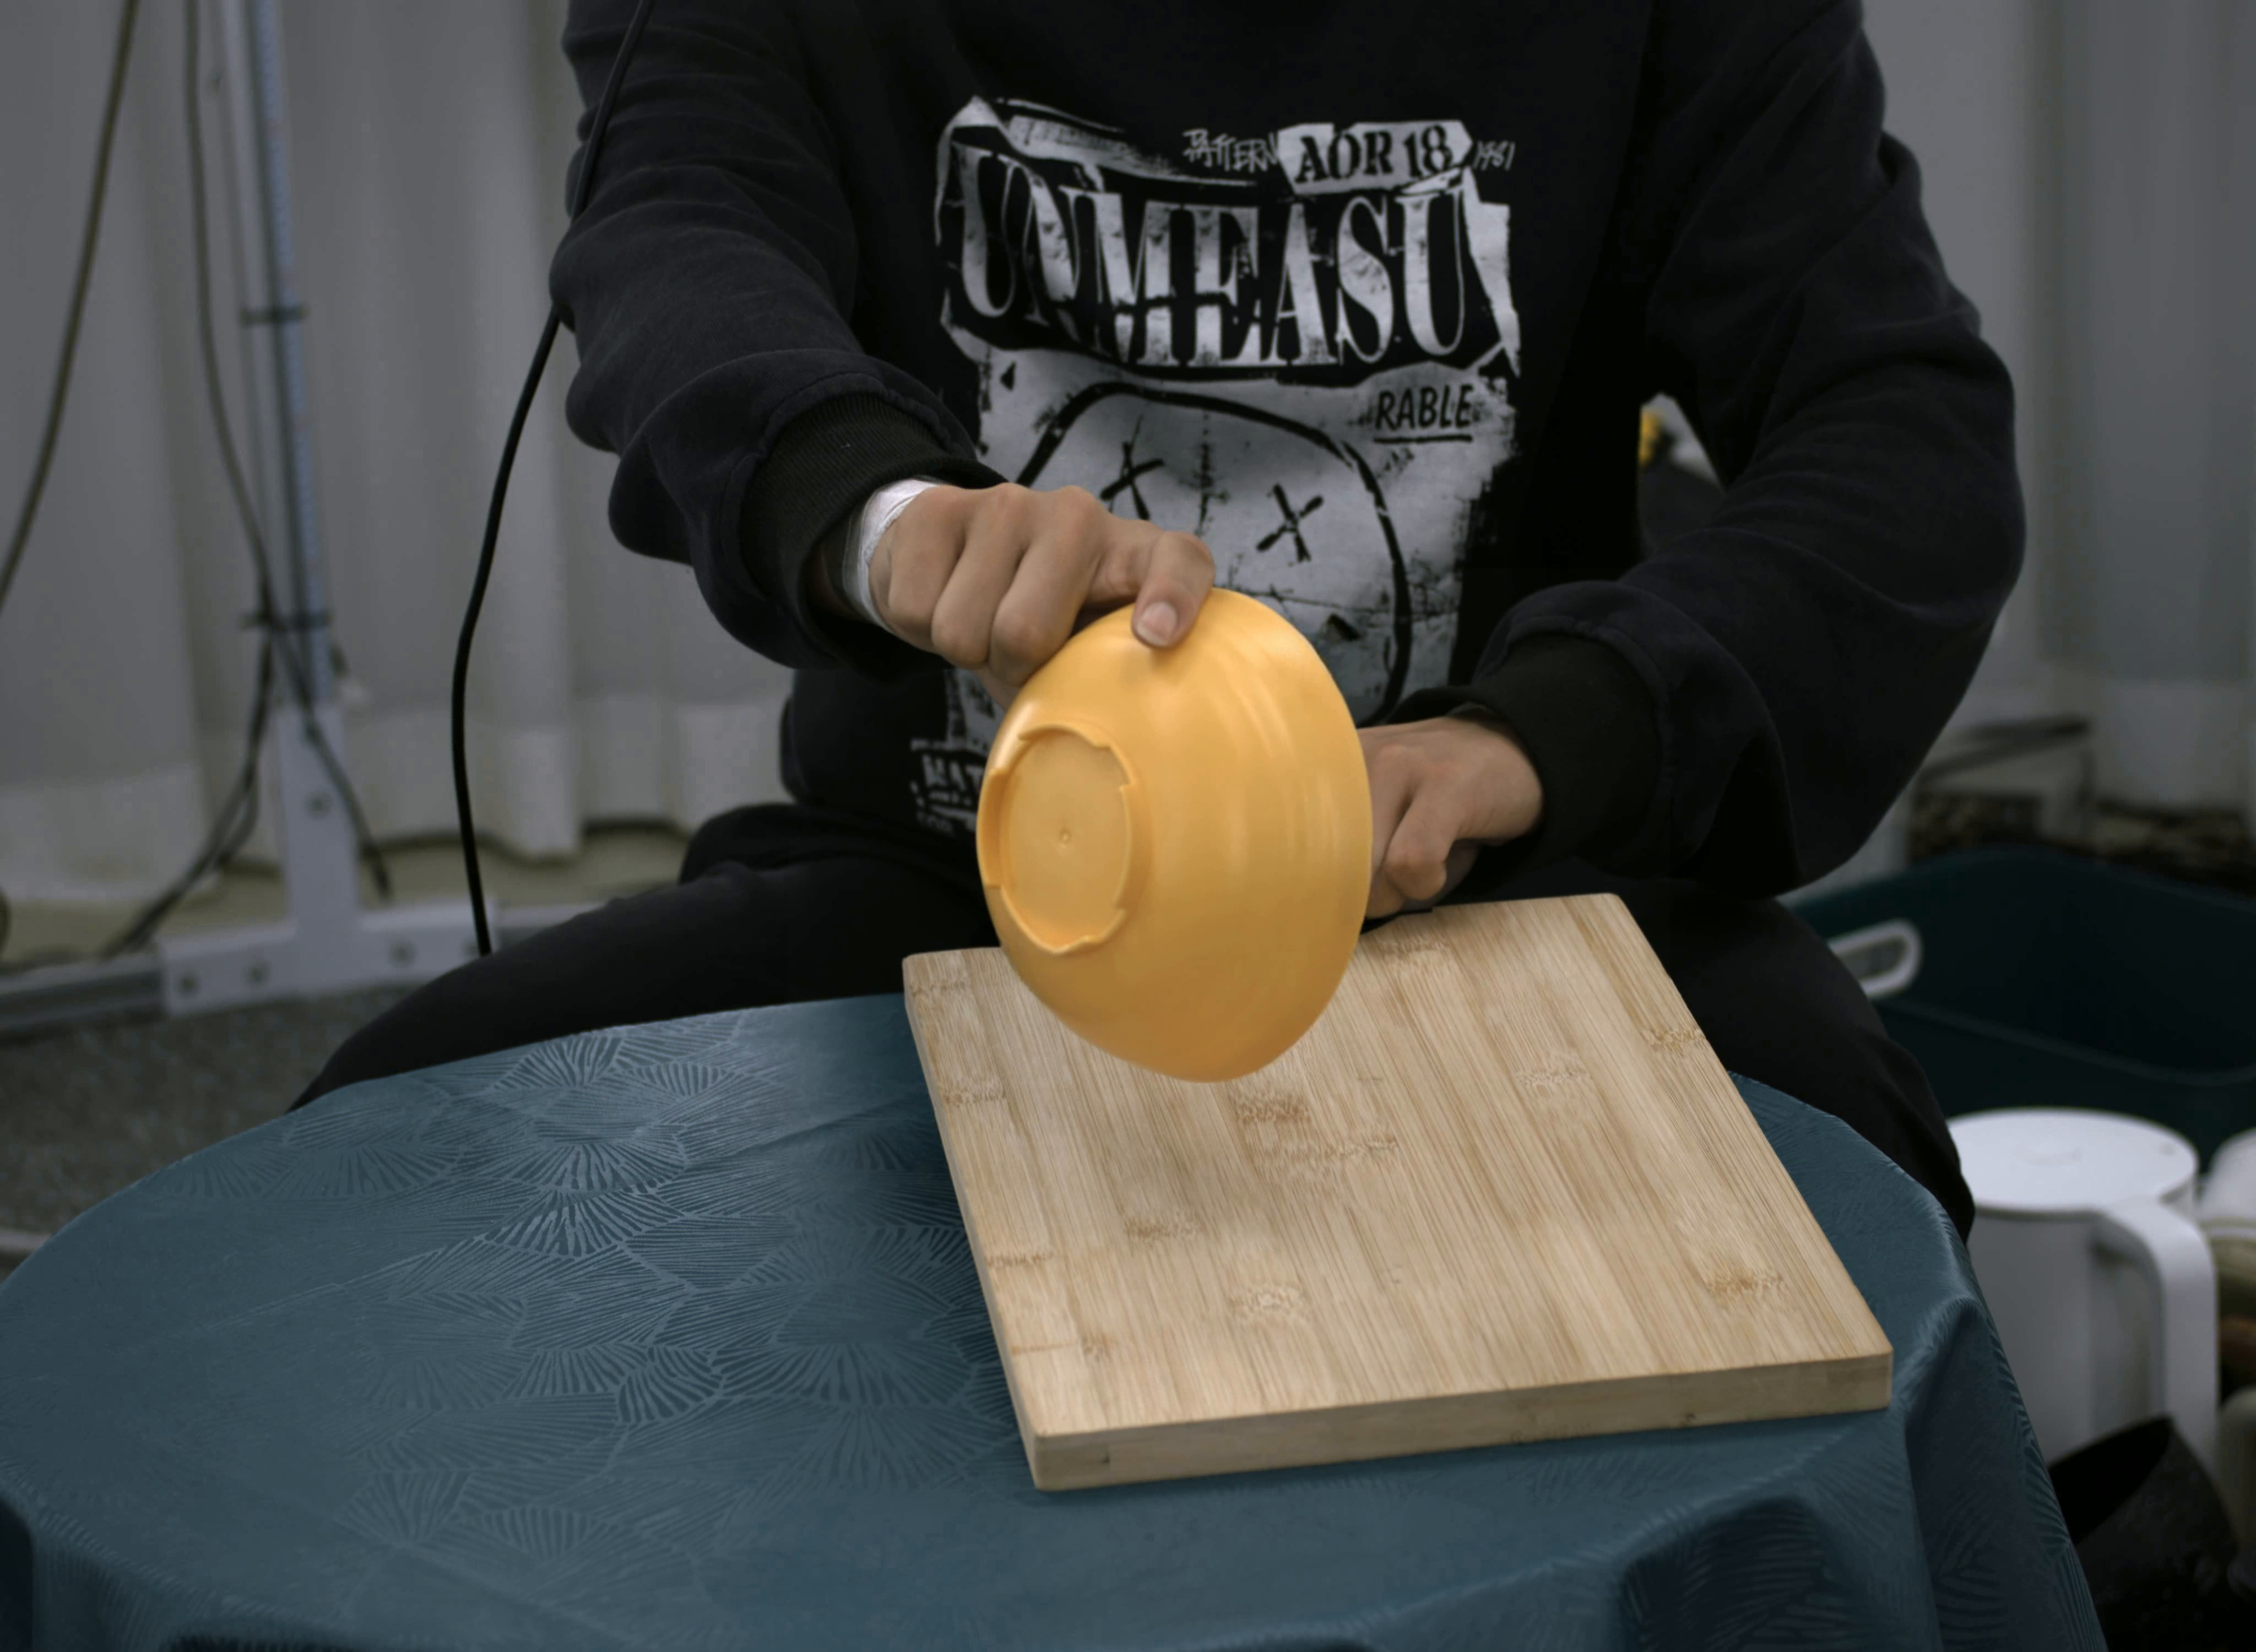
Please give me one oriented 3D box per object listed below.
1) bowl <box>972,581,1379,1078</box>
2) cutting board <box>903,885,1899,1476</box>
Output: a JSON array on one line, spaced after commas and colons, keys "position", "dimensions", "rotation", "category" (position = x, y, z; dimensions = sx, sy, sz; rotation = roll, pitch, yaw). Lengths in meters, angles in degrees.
[{"position": [0.000, 0.001, 1.571], "dimensions": [0.060, 0.145, 0.146], "rotation": [1, 8, -45], "category": "bowl"}, {"position": [0.069, 0.100, 1.647], "dimensions": [0.249, 0.023, 0.352], "rotation": [-5, 22, -8], "category": "cutting board"}]
